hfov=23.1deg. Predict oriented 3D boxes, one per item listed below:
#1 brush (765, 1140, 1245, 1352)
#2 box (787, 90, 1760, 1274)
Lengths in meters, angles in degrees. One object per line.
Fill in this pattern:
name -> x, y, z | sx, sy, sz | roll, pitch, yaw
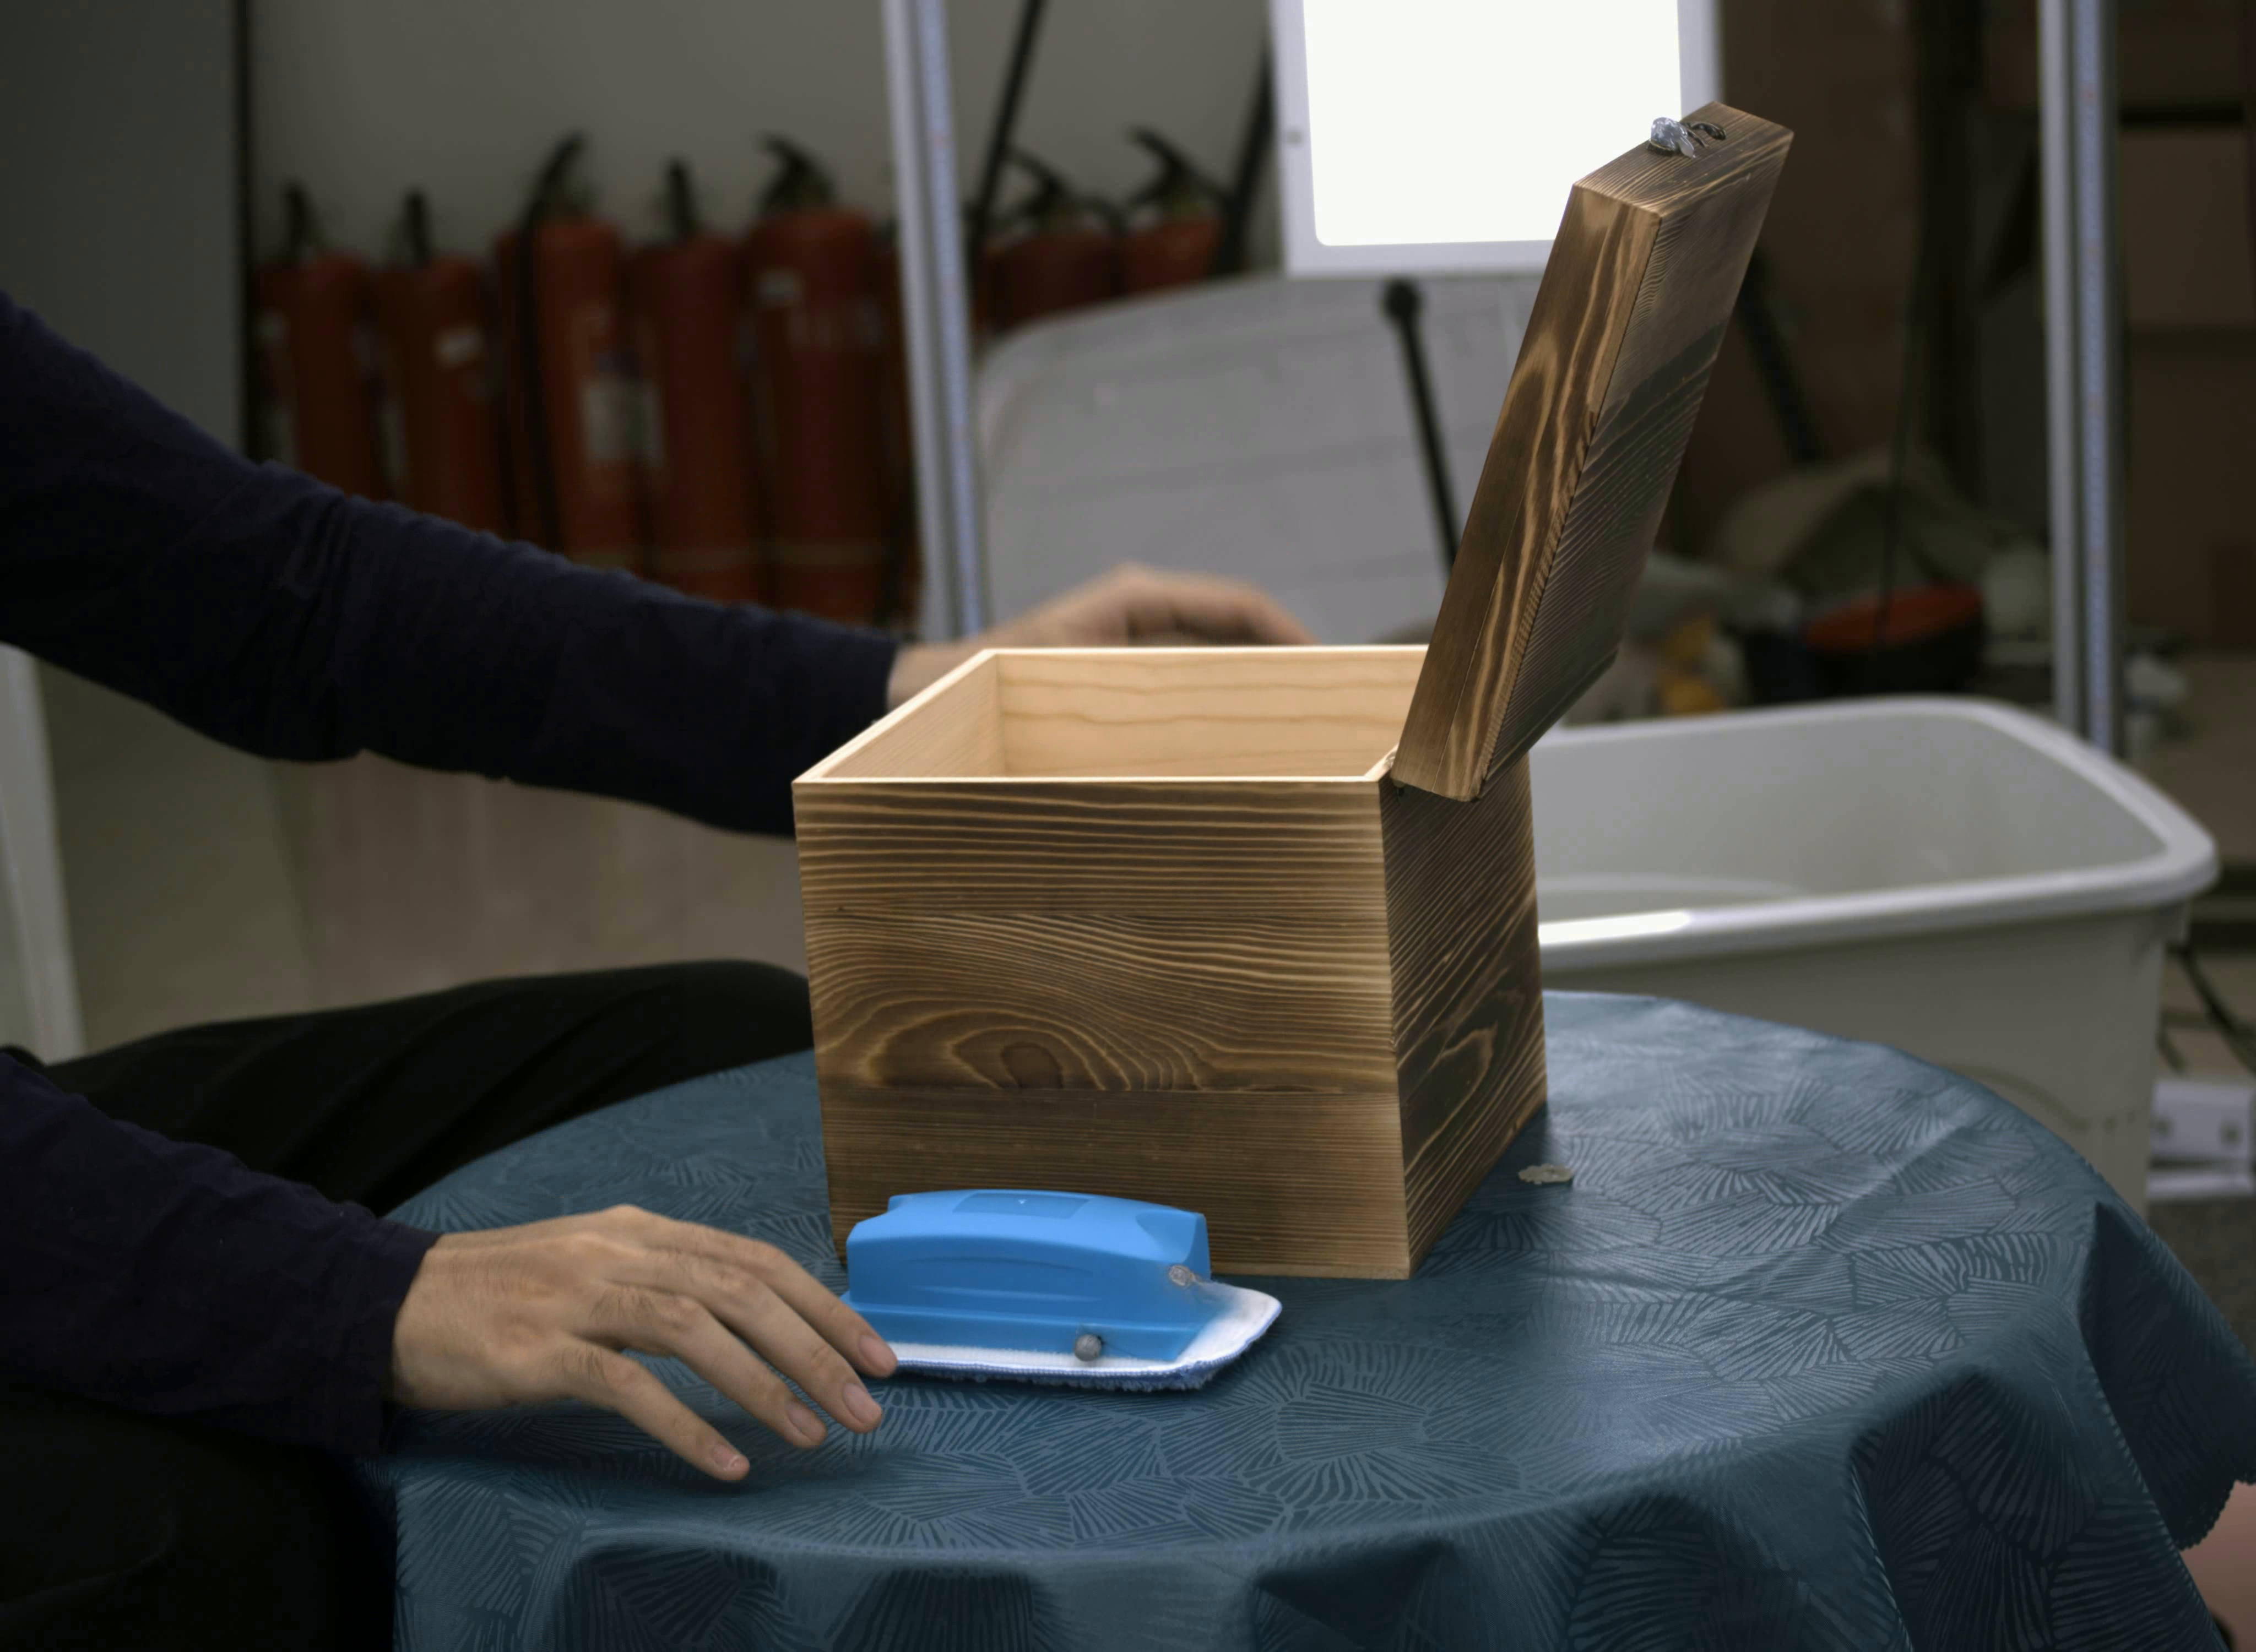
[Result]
brush -> -0.038, 0.131, 1.731 | 0.146, 0.056, 0.082 | 6, 14, 23
box -> 0.061, -0.052, 1.846 | 0.326, 0.377, 0.205 | 0, 14, 19
